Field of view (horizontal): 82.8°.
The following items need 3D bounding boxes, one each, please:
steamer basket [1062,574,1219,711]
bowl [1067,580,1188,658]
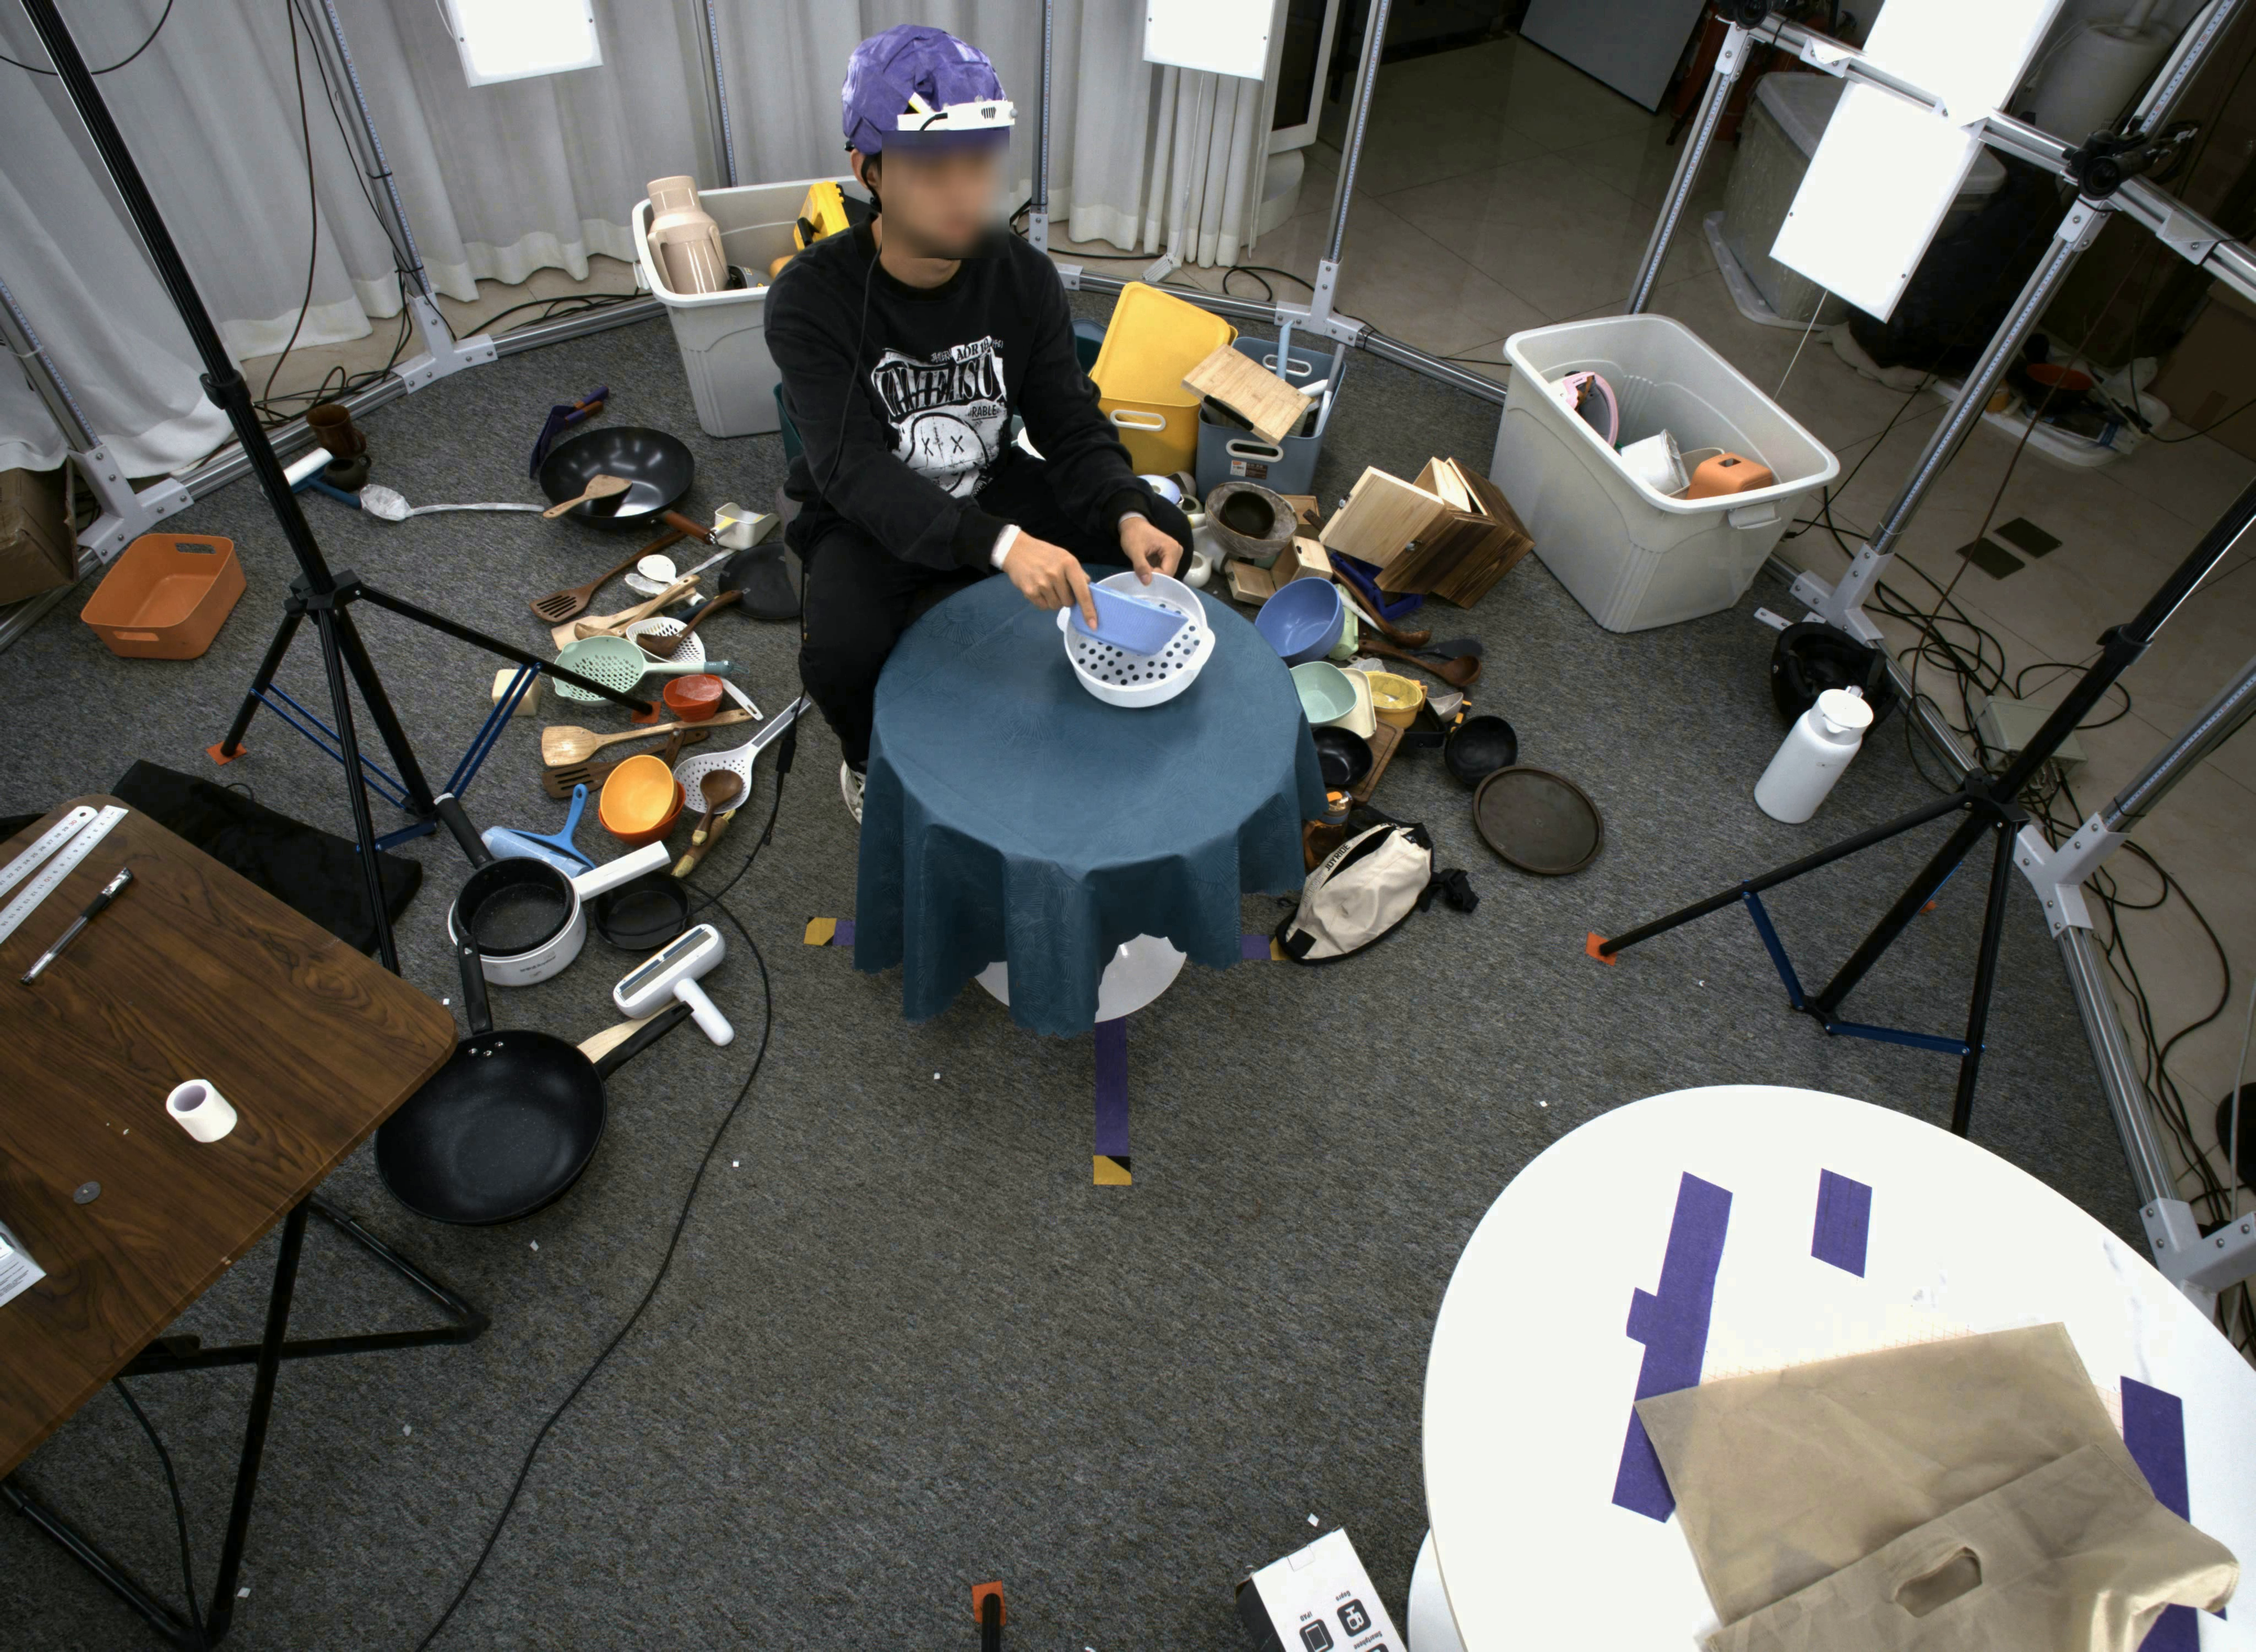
[{"bbox_3d":[0.019,-0.262,1.842,0.232,0.068,0.205,19,66,15],"label":"steamer basket"},{"bbox_3d":[-0.011,-0.281,1.770,0.176,0.070,0.177,18,10,-3],"label":"bowl"}]
